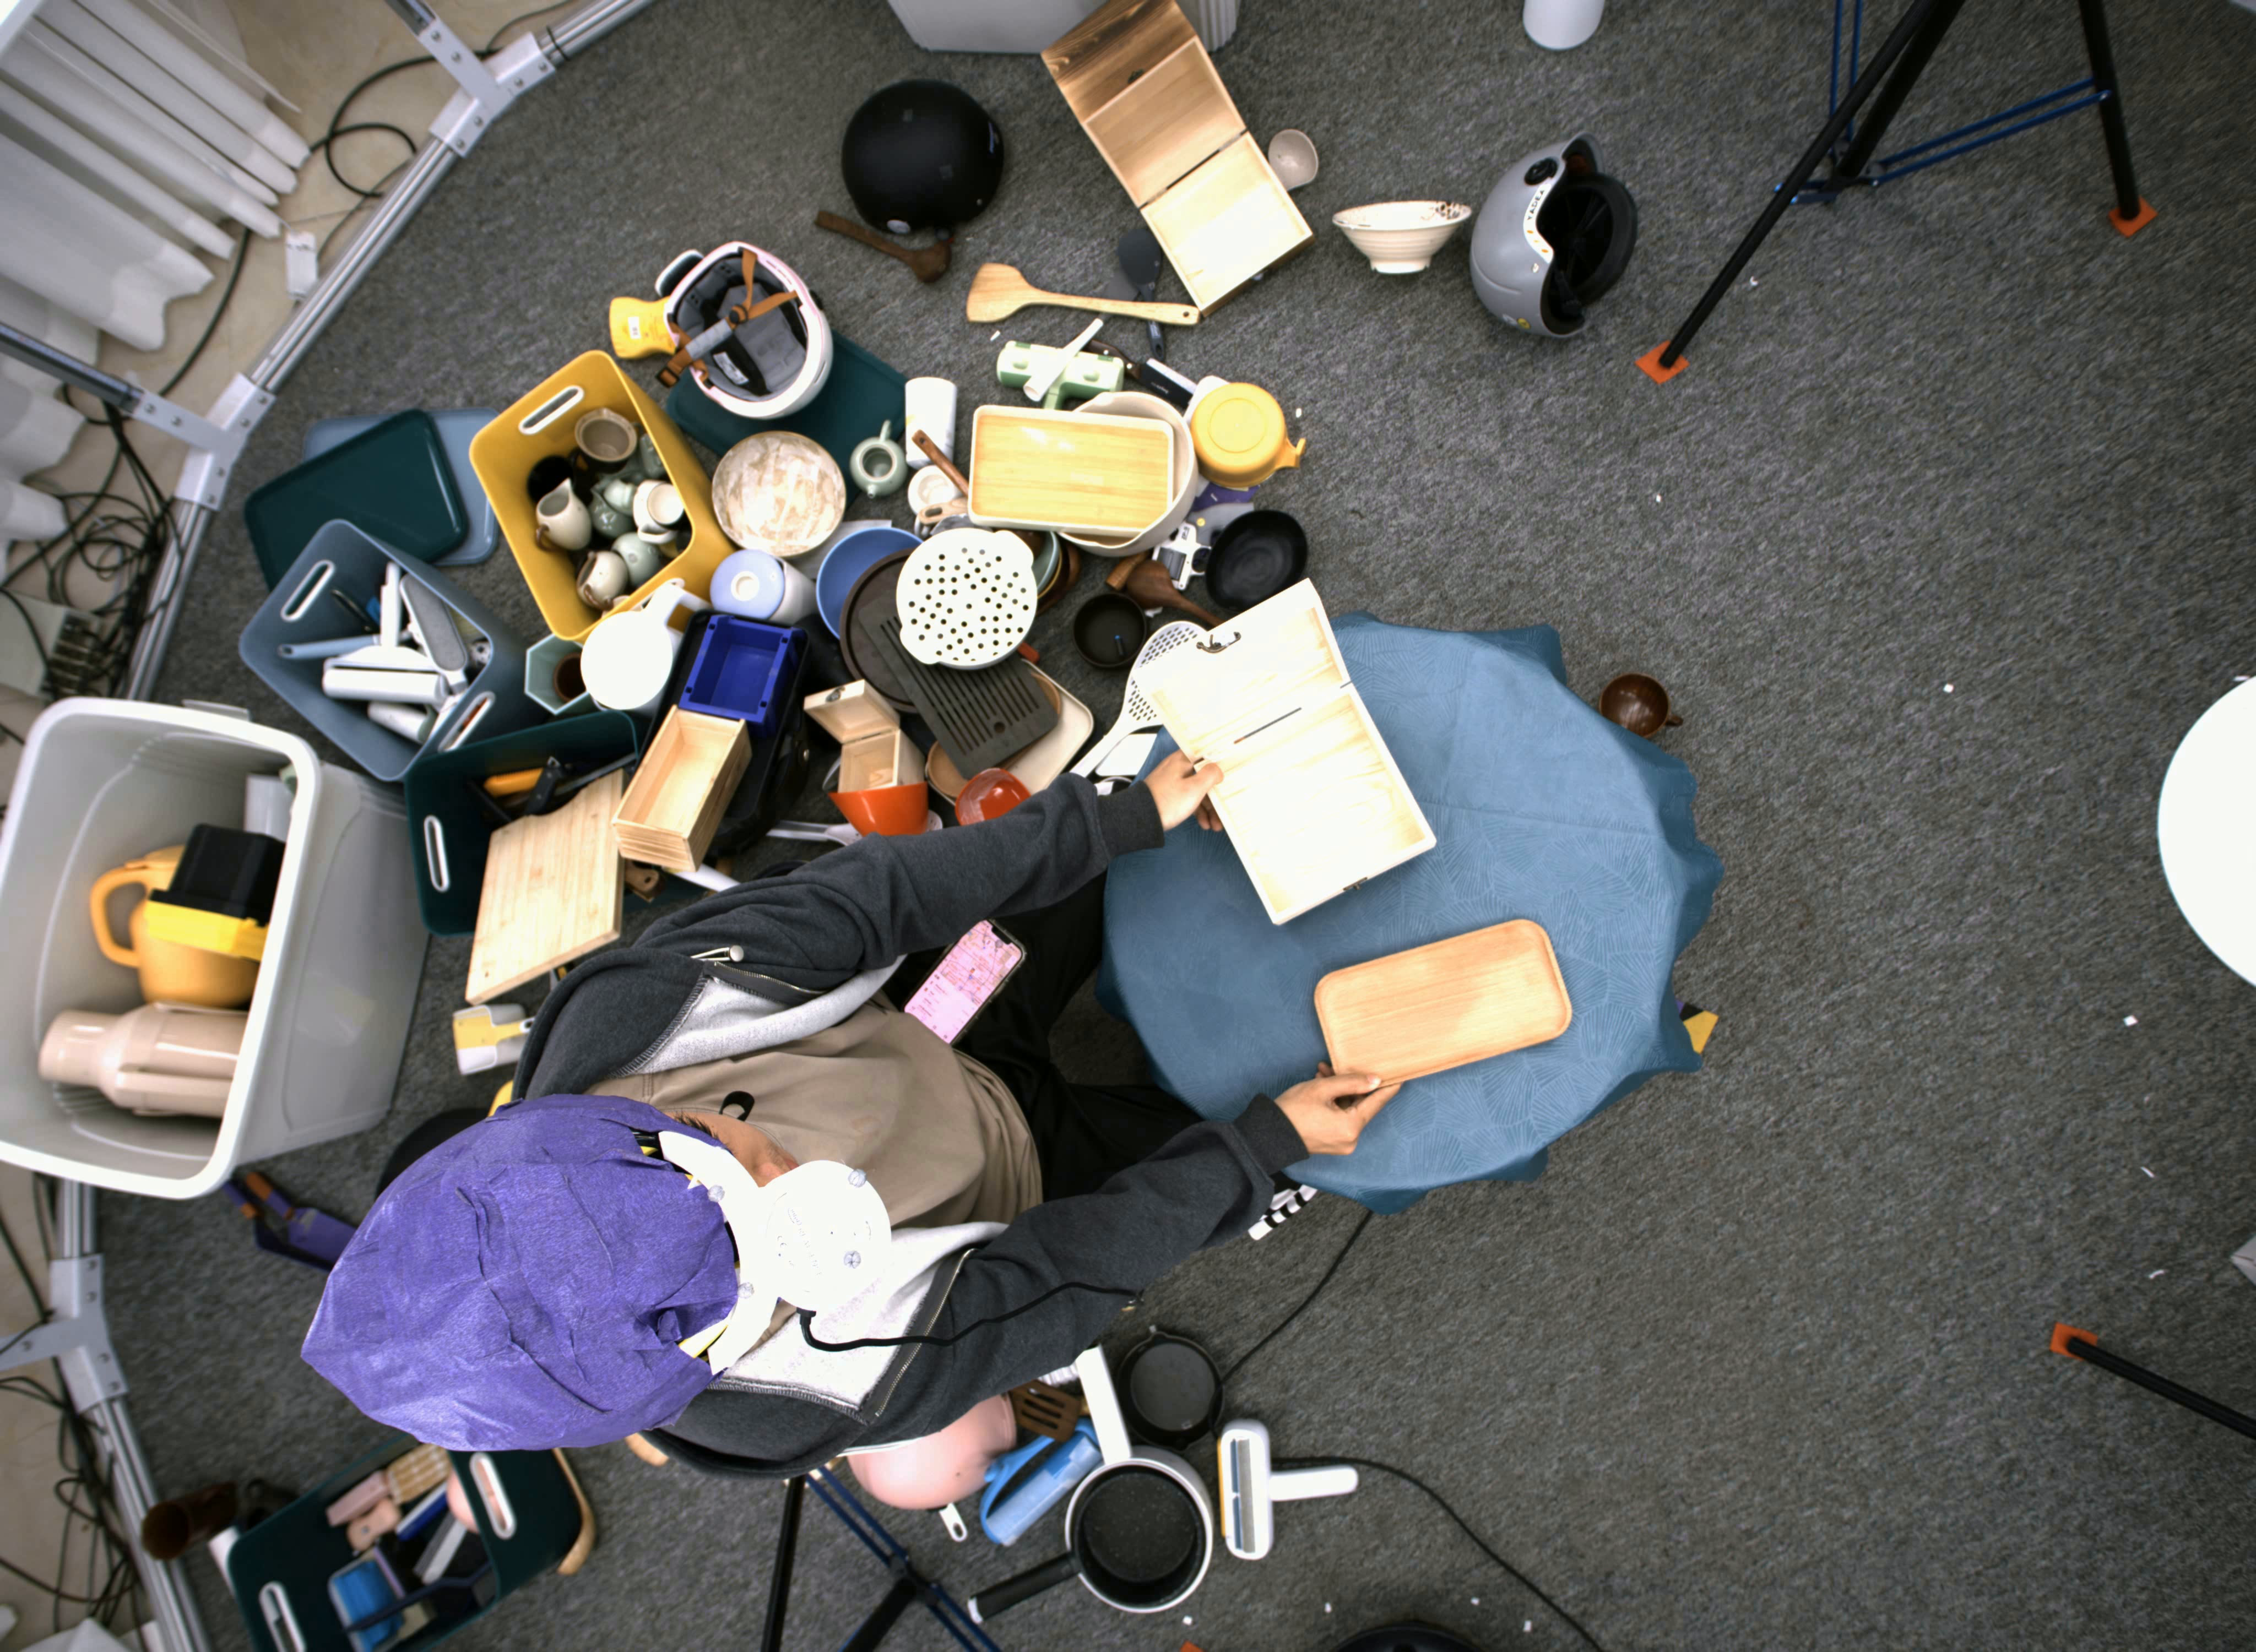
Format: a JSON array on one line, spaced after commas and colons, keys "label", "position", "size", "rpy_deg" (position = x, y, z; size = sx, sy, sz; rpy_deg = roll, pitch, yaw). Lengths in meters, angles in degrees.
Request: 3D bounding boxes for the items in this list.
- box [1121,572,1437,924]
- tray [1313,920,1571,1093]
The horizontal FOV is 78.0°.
[{"label": "box", "position": [0.157, -0.060, 1.333], "size": [0.183, 0.253, 0.263], "rpy_deg": [-29, 80, 10]}, {"label": "tray", "position": [0.322, 0.184, 1.422], "size": [0.251, 0.023, 0.129], "rpy_deg": [-16, 78, 5]}]
